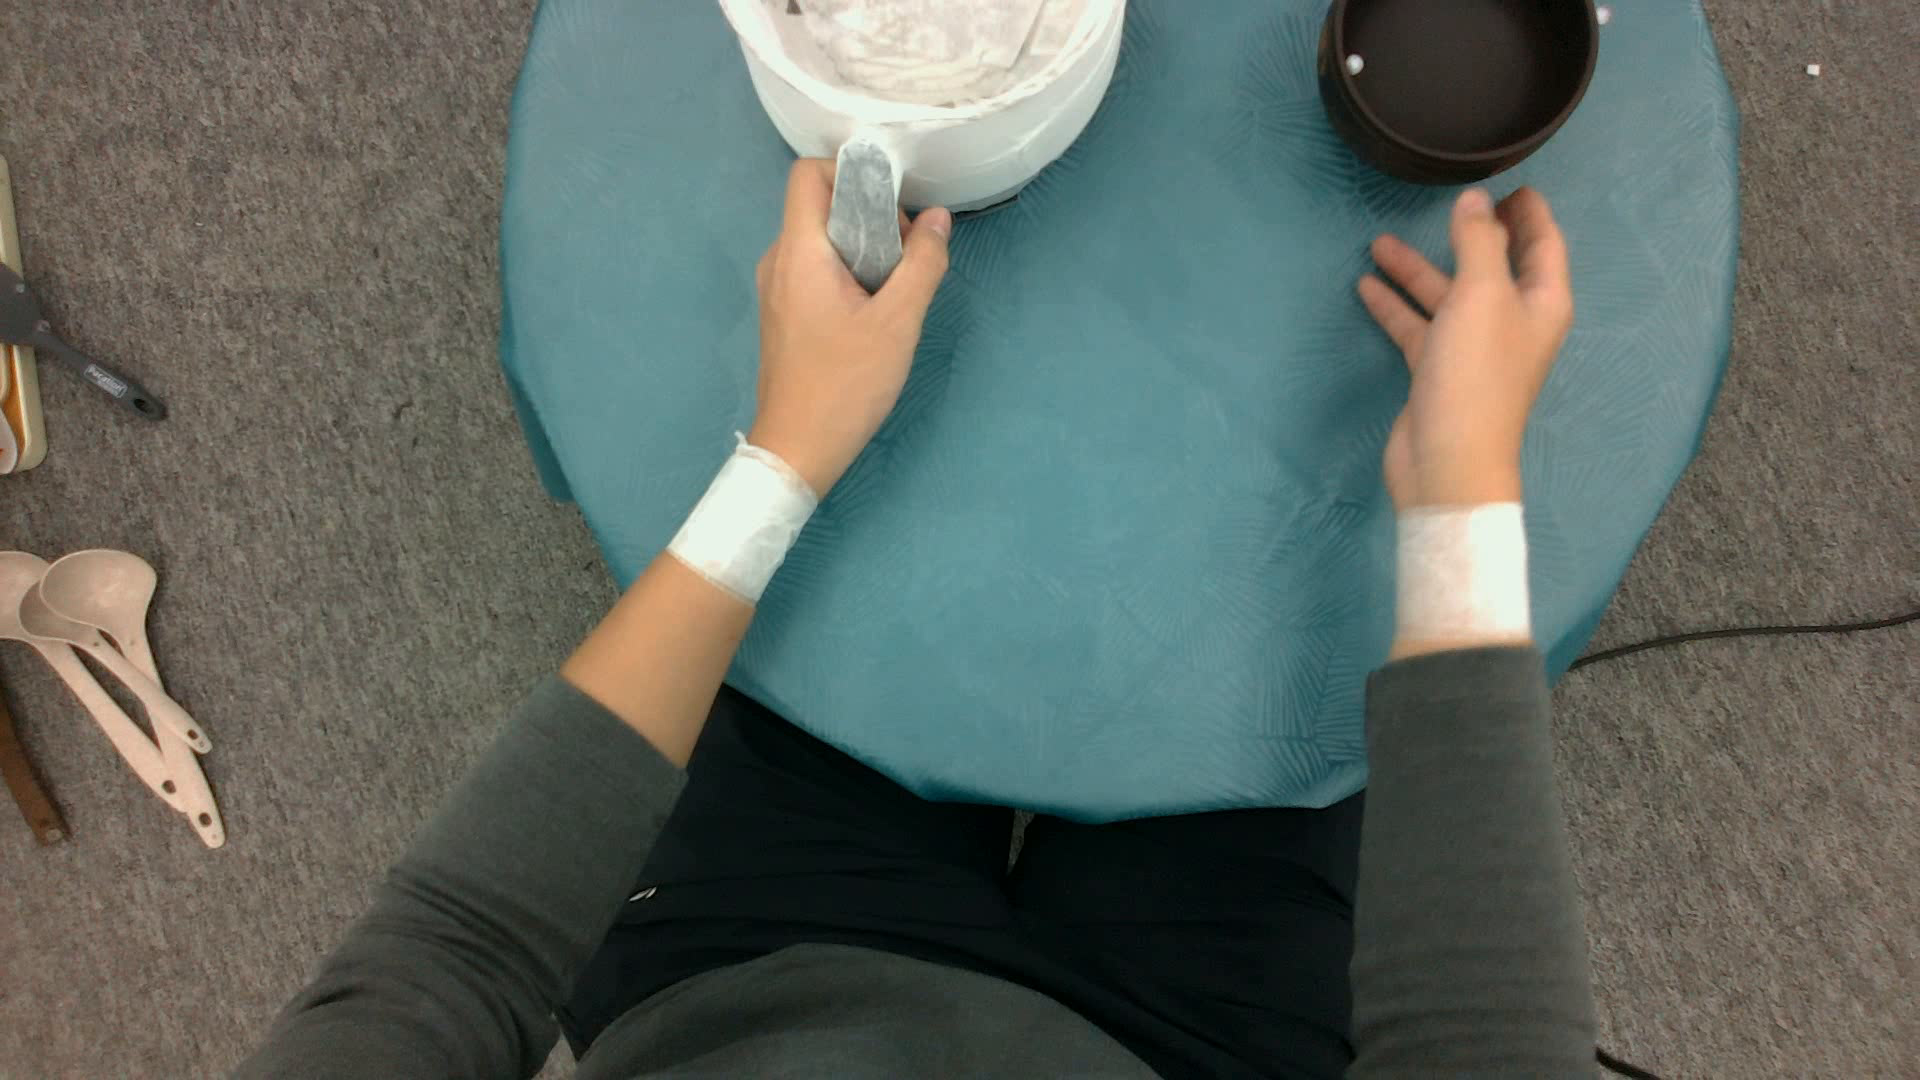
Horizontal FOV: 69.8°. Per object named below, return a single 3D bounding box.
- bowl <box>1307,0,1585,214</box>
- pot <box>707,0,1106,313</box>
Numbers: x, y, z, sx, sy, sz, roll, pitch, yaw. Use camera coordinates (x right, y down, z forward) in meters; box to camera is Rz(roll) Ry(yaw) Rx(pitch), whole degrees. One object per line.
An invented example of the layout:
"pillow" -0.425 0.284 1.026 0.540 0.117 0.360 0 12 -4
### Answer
"bowl" 0.220 -0.210 0.643 0.118 0.070 0.118 0 93 2
"pot" -0.026 -0.222 0.609 0.179 0.136 0.234 11 87 2
